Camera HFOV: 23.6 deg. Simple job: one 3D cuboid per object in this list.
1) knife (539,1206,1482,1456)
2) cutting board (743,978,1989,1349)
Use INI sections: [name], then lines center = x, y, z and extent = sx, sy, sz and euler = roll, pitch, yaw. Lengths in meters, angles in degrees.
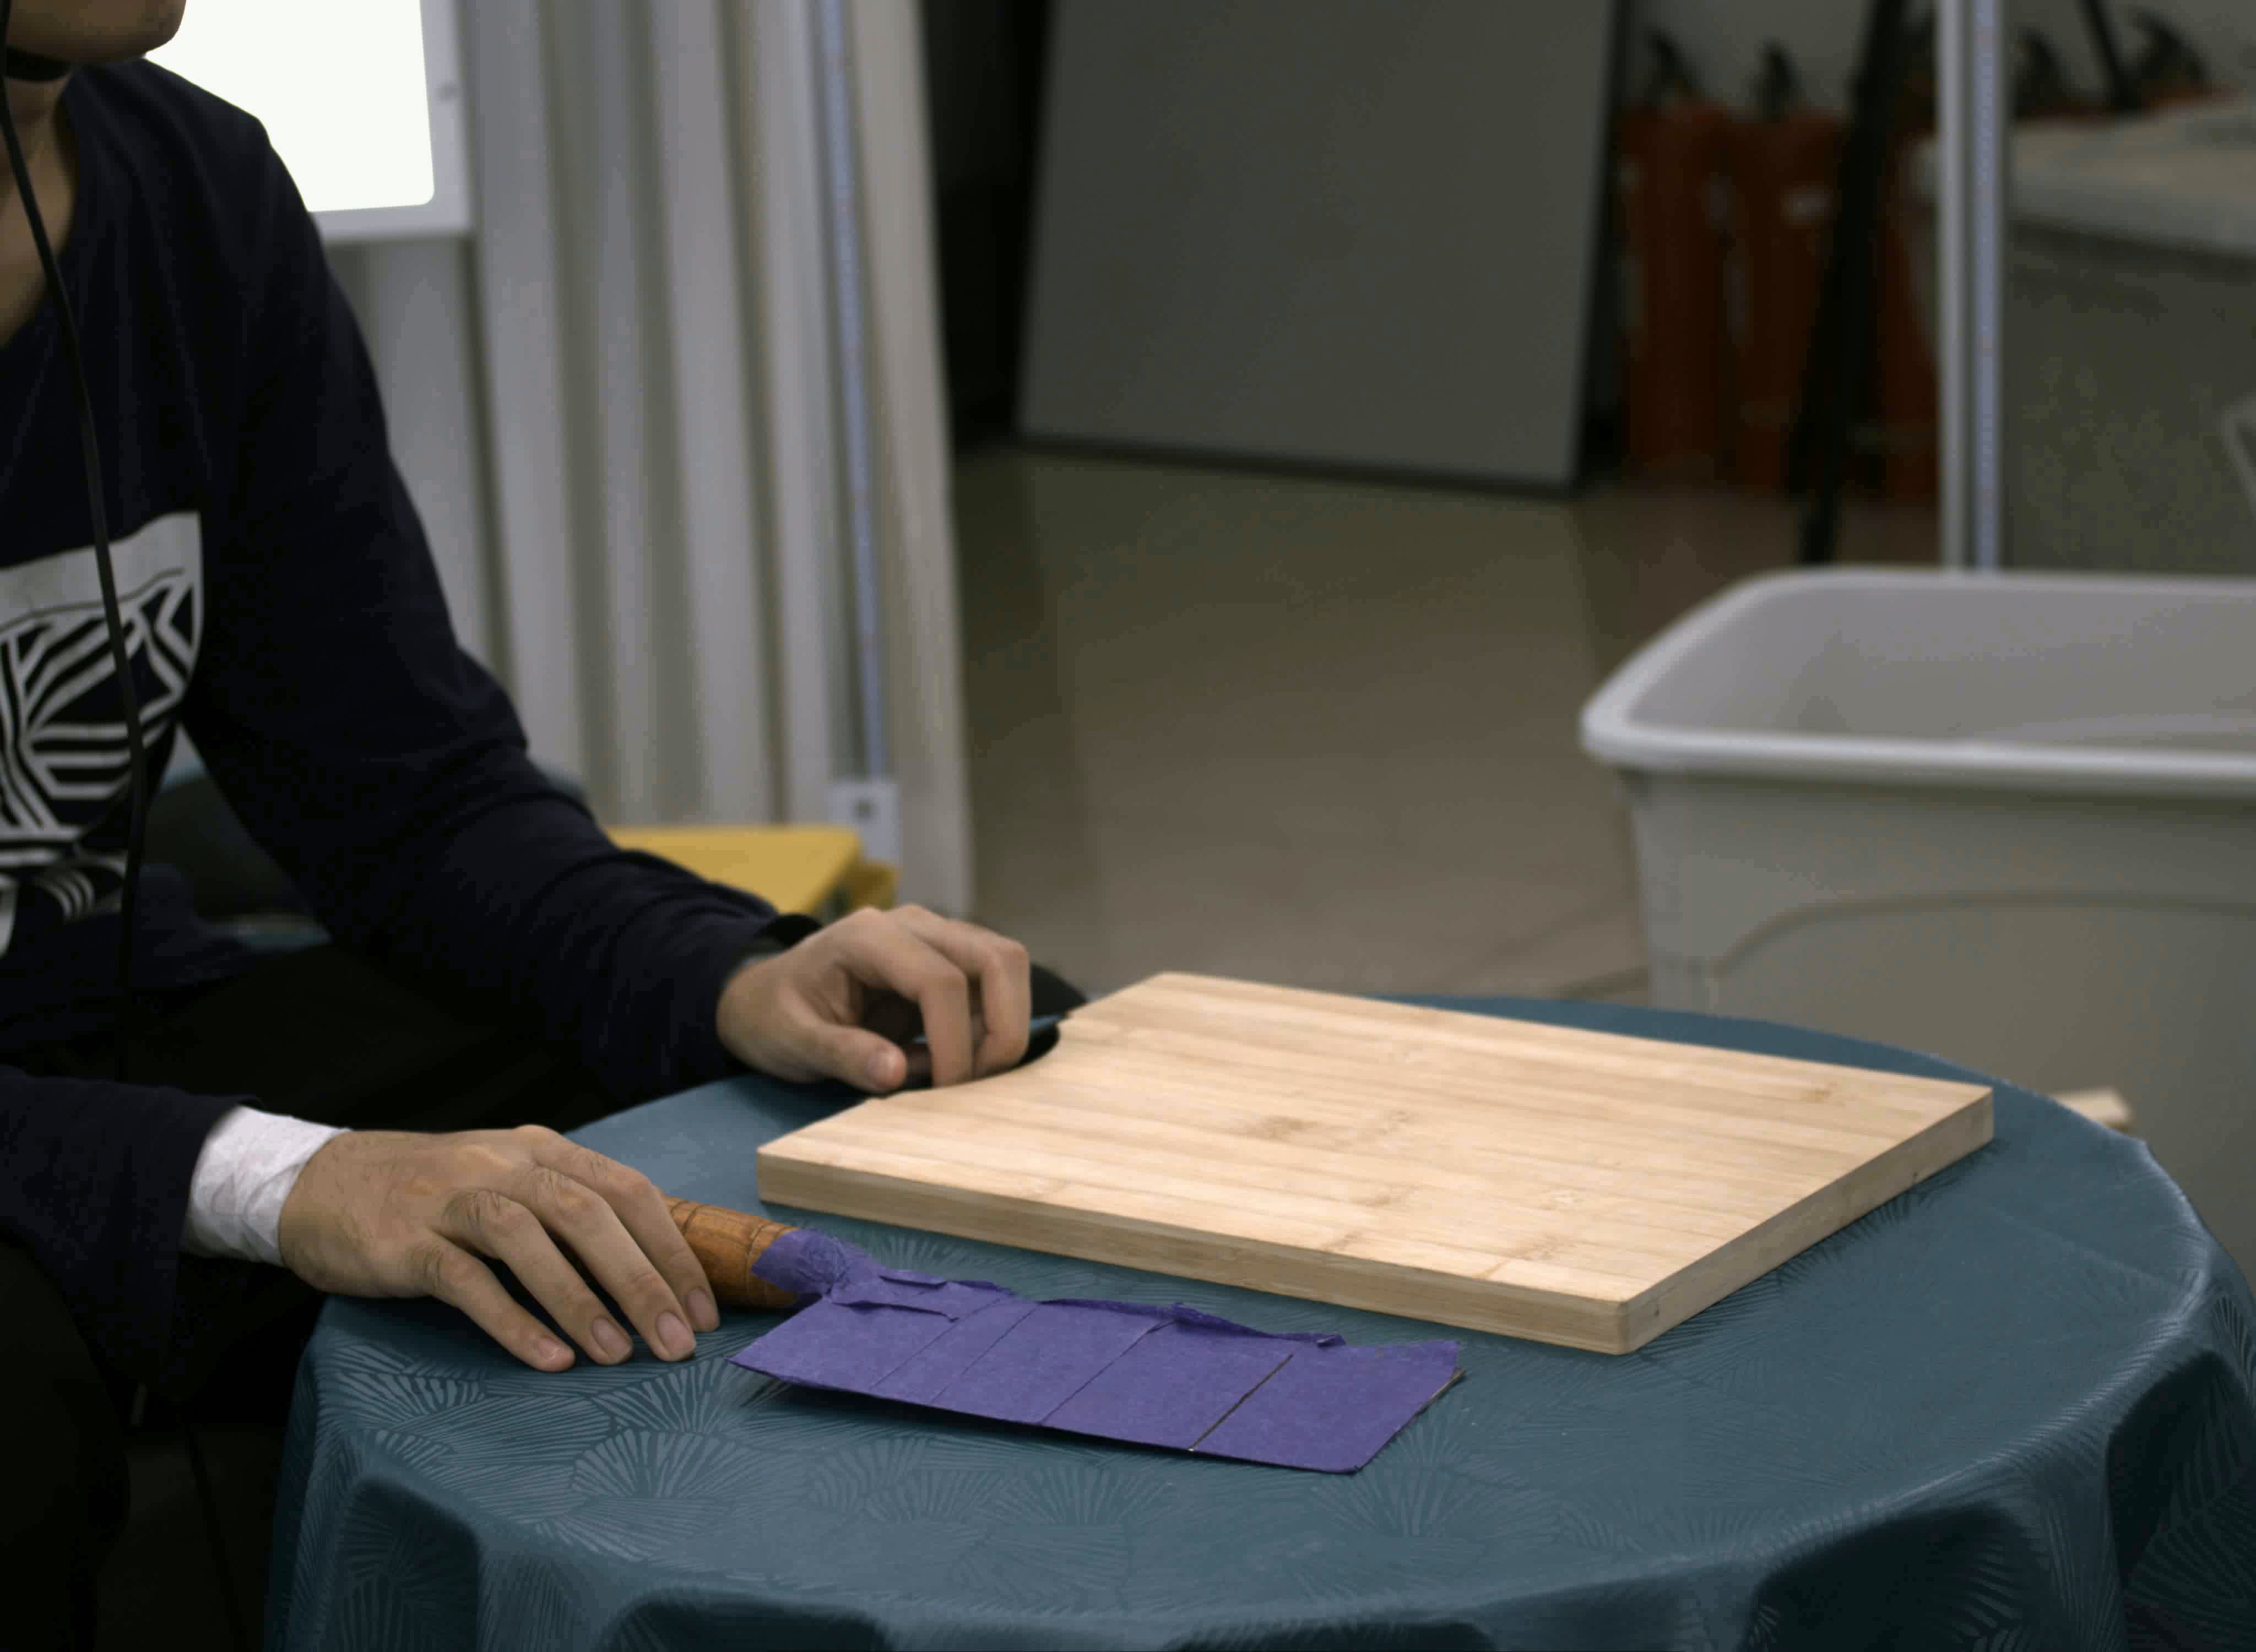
[knife]
center = -0.054, 0.150, 1.613
extent = 0.316, 0.032, 0.102
euler = 3, 15, 27
[cutting board]
center = 0.077, 0.106, 1.780
extent = 0.351, 0.024, 0.246
euler = 6, 17, 37
